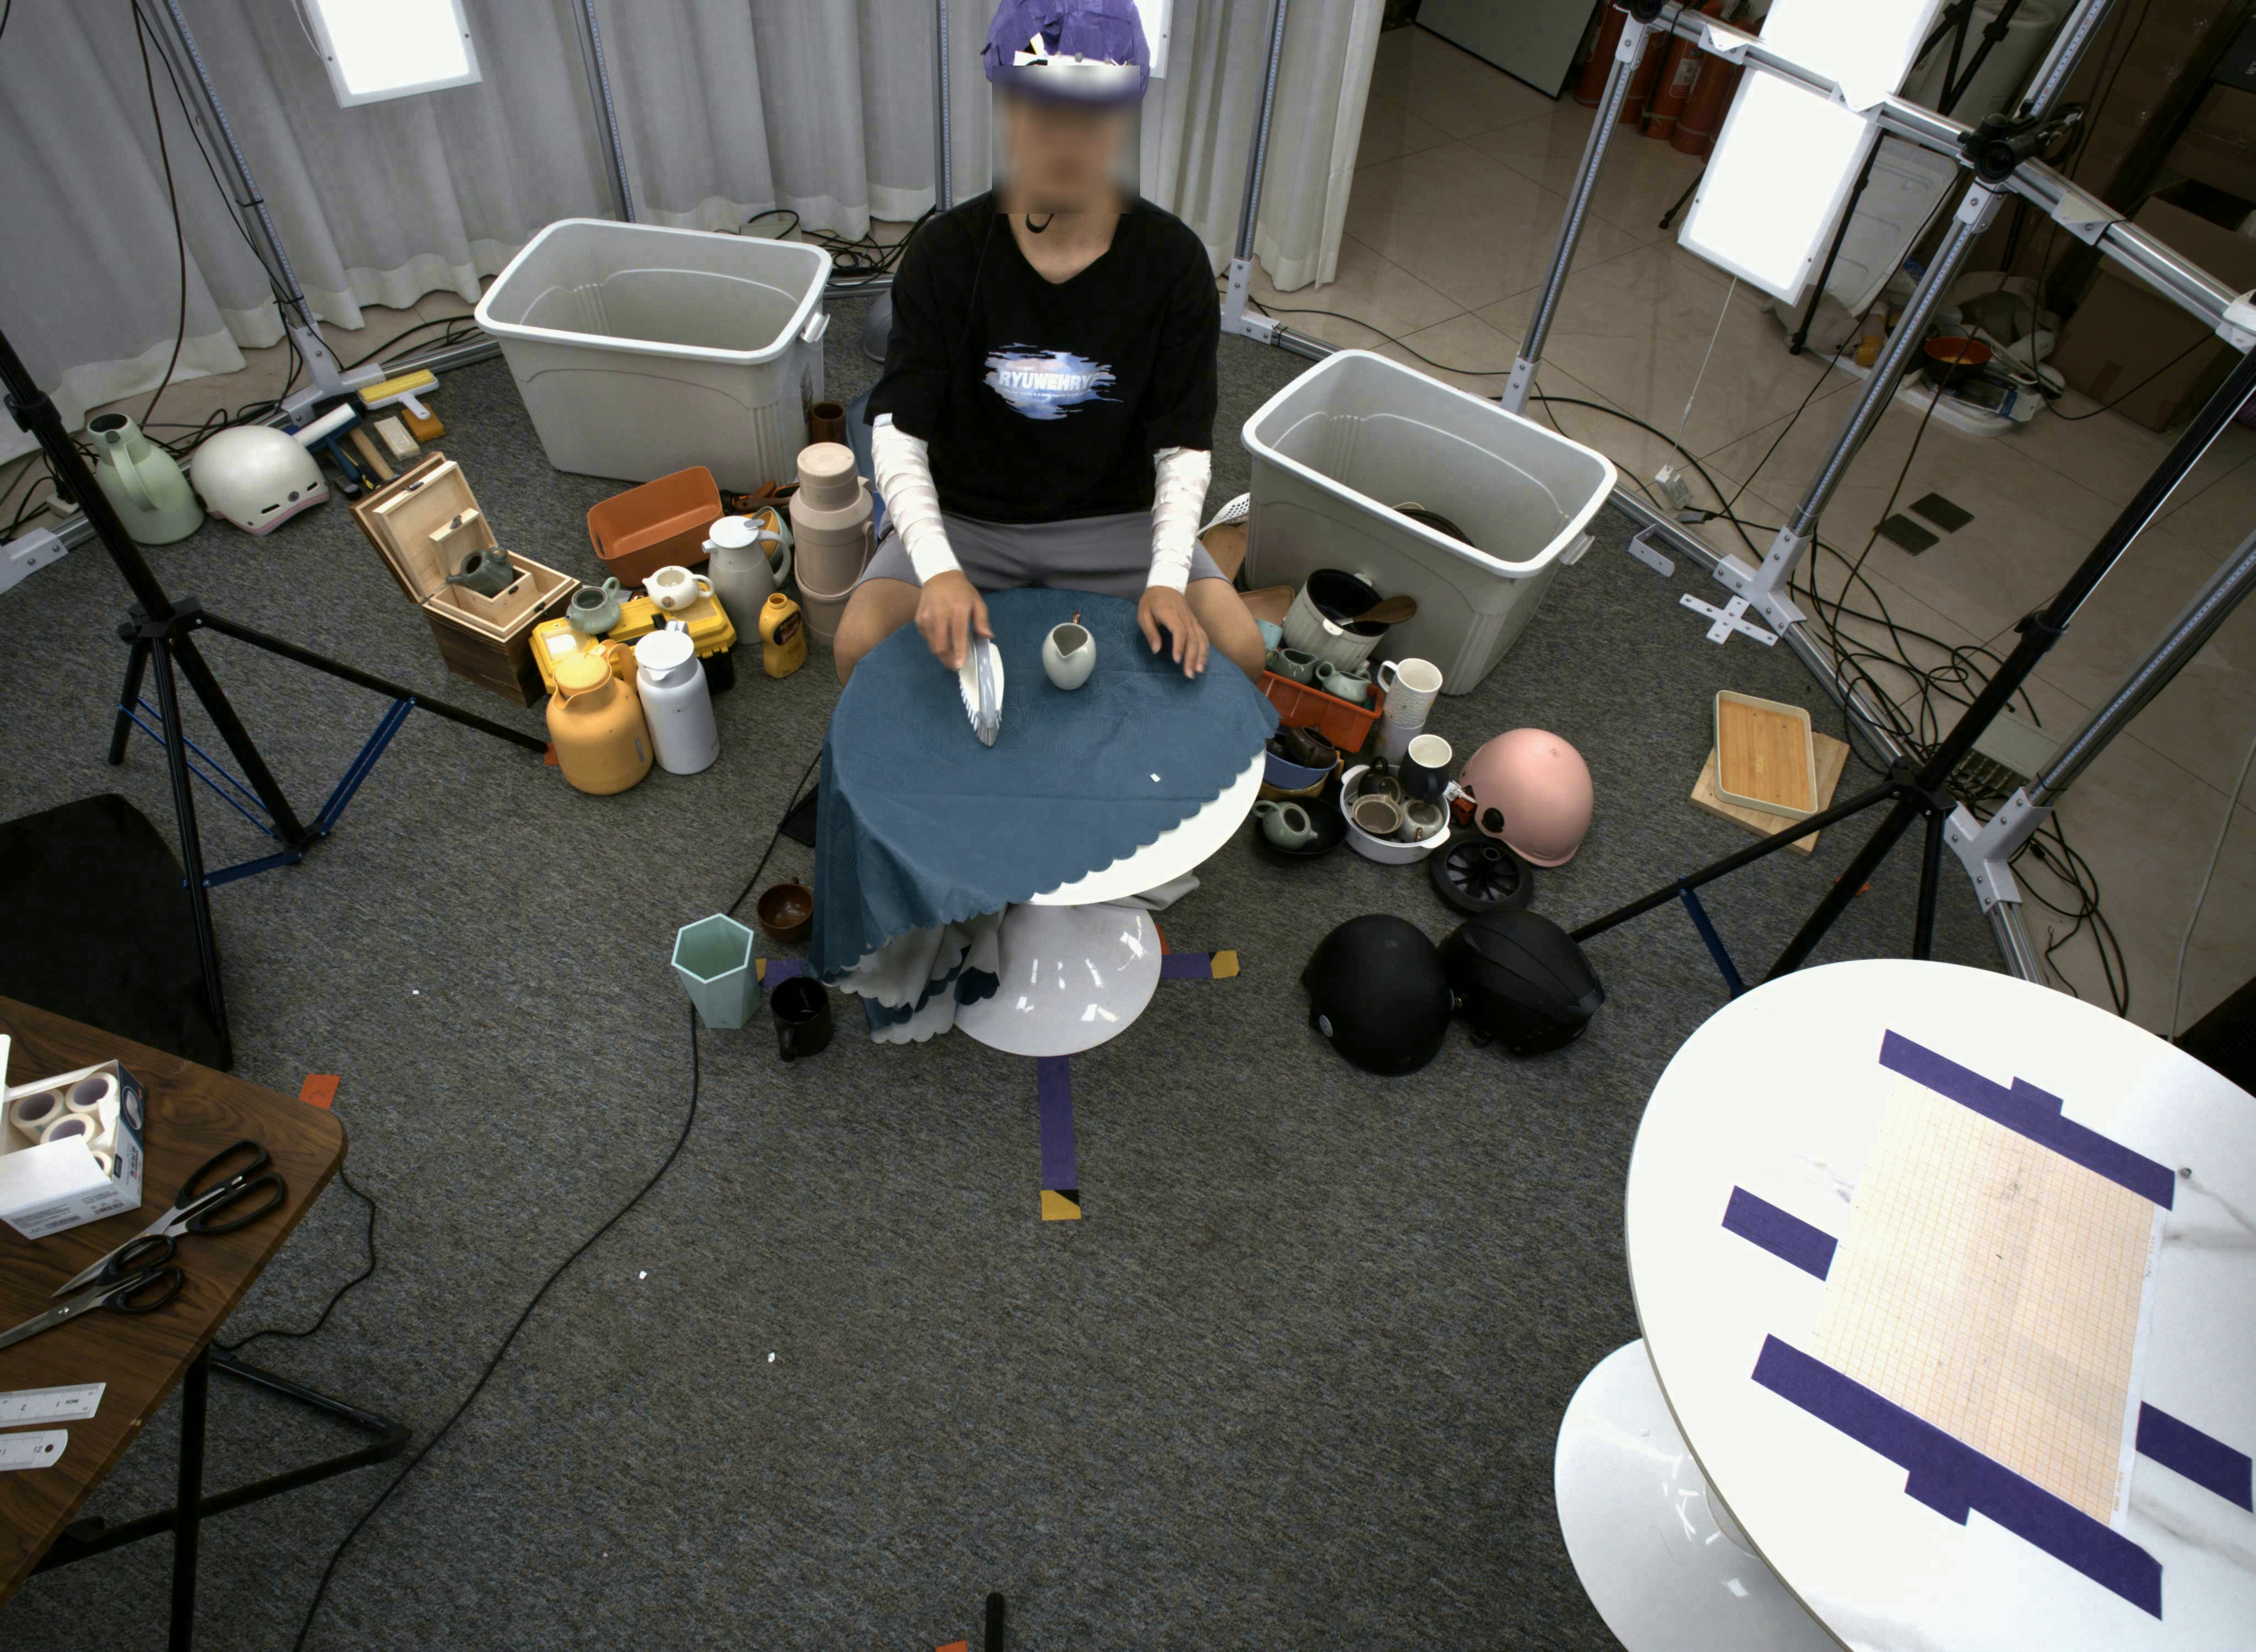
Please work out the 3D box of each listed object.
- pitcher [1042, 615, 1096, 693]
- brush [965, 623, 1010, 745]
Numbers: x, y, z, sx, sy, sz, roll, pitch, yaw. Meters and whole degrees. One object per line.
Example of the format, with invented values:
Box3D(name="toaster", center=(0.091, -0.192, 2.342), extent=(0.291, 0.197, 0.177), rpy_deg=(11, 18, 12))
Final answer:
Box3D(name="pitcher", center=(-0.082, -0.239, 1.818), extent=(0.076, 0.086, 0.122), rpy_deg=(14, 52, 3))
Box3D(name="brush", center=(-0.194, -0.206, 1.778), extent=(0.061, 0.092, 0.180), rpy_deg=(-3, 54, -5))
